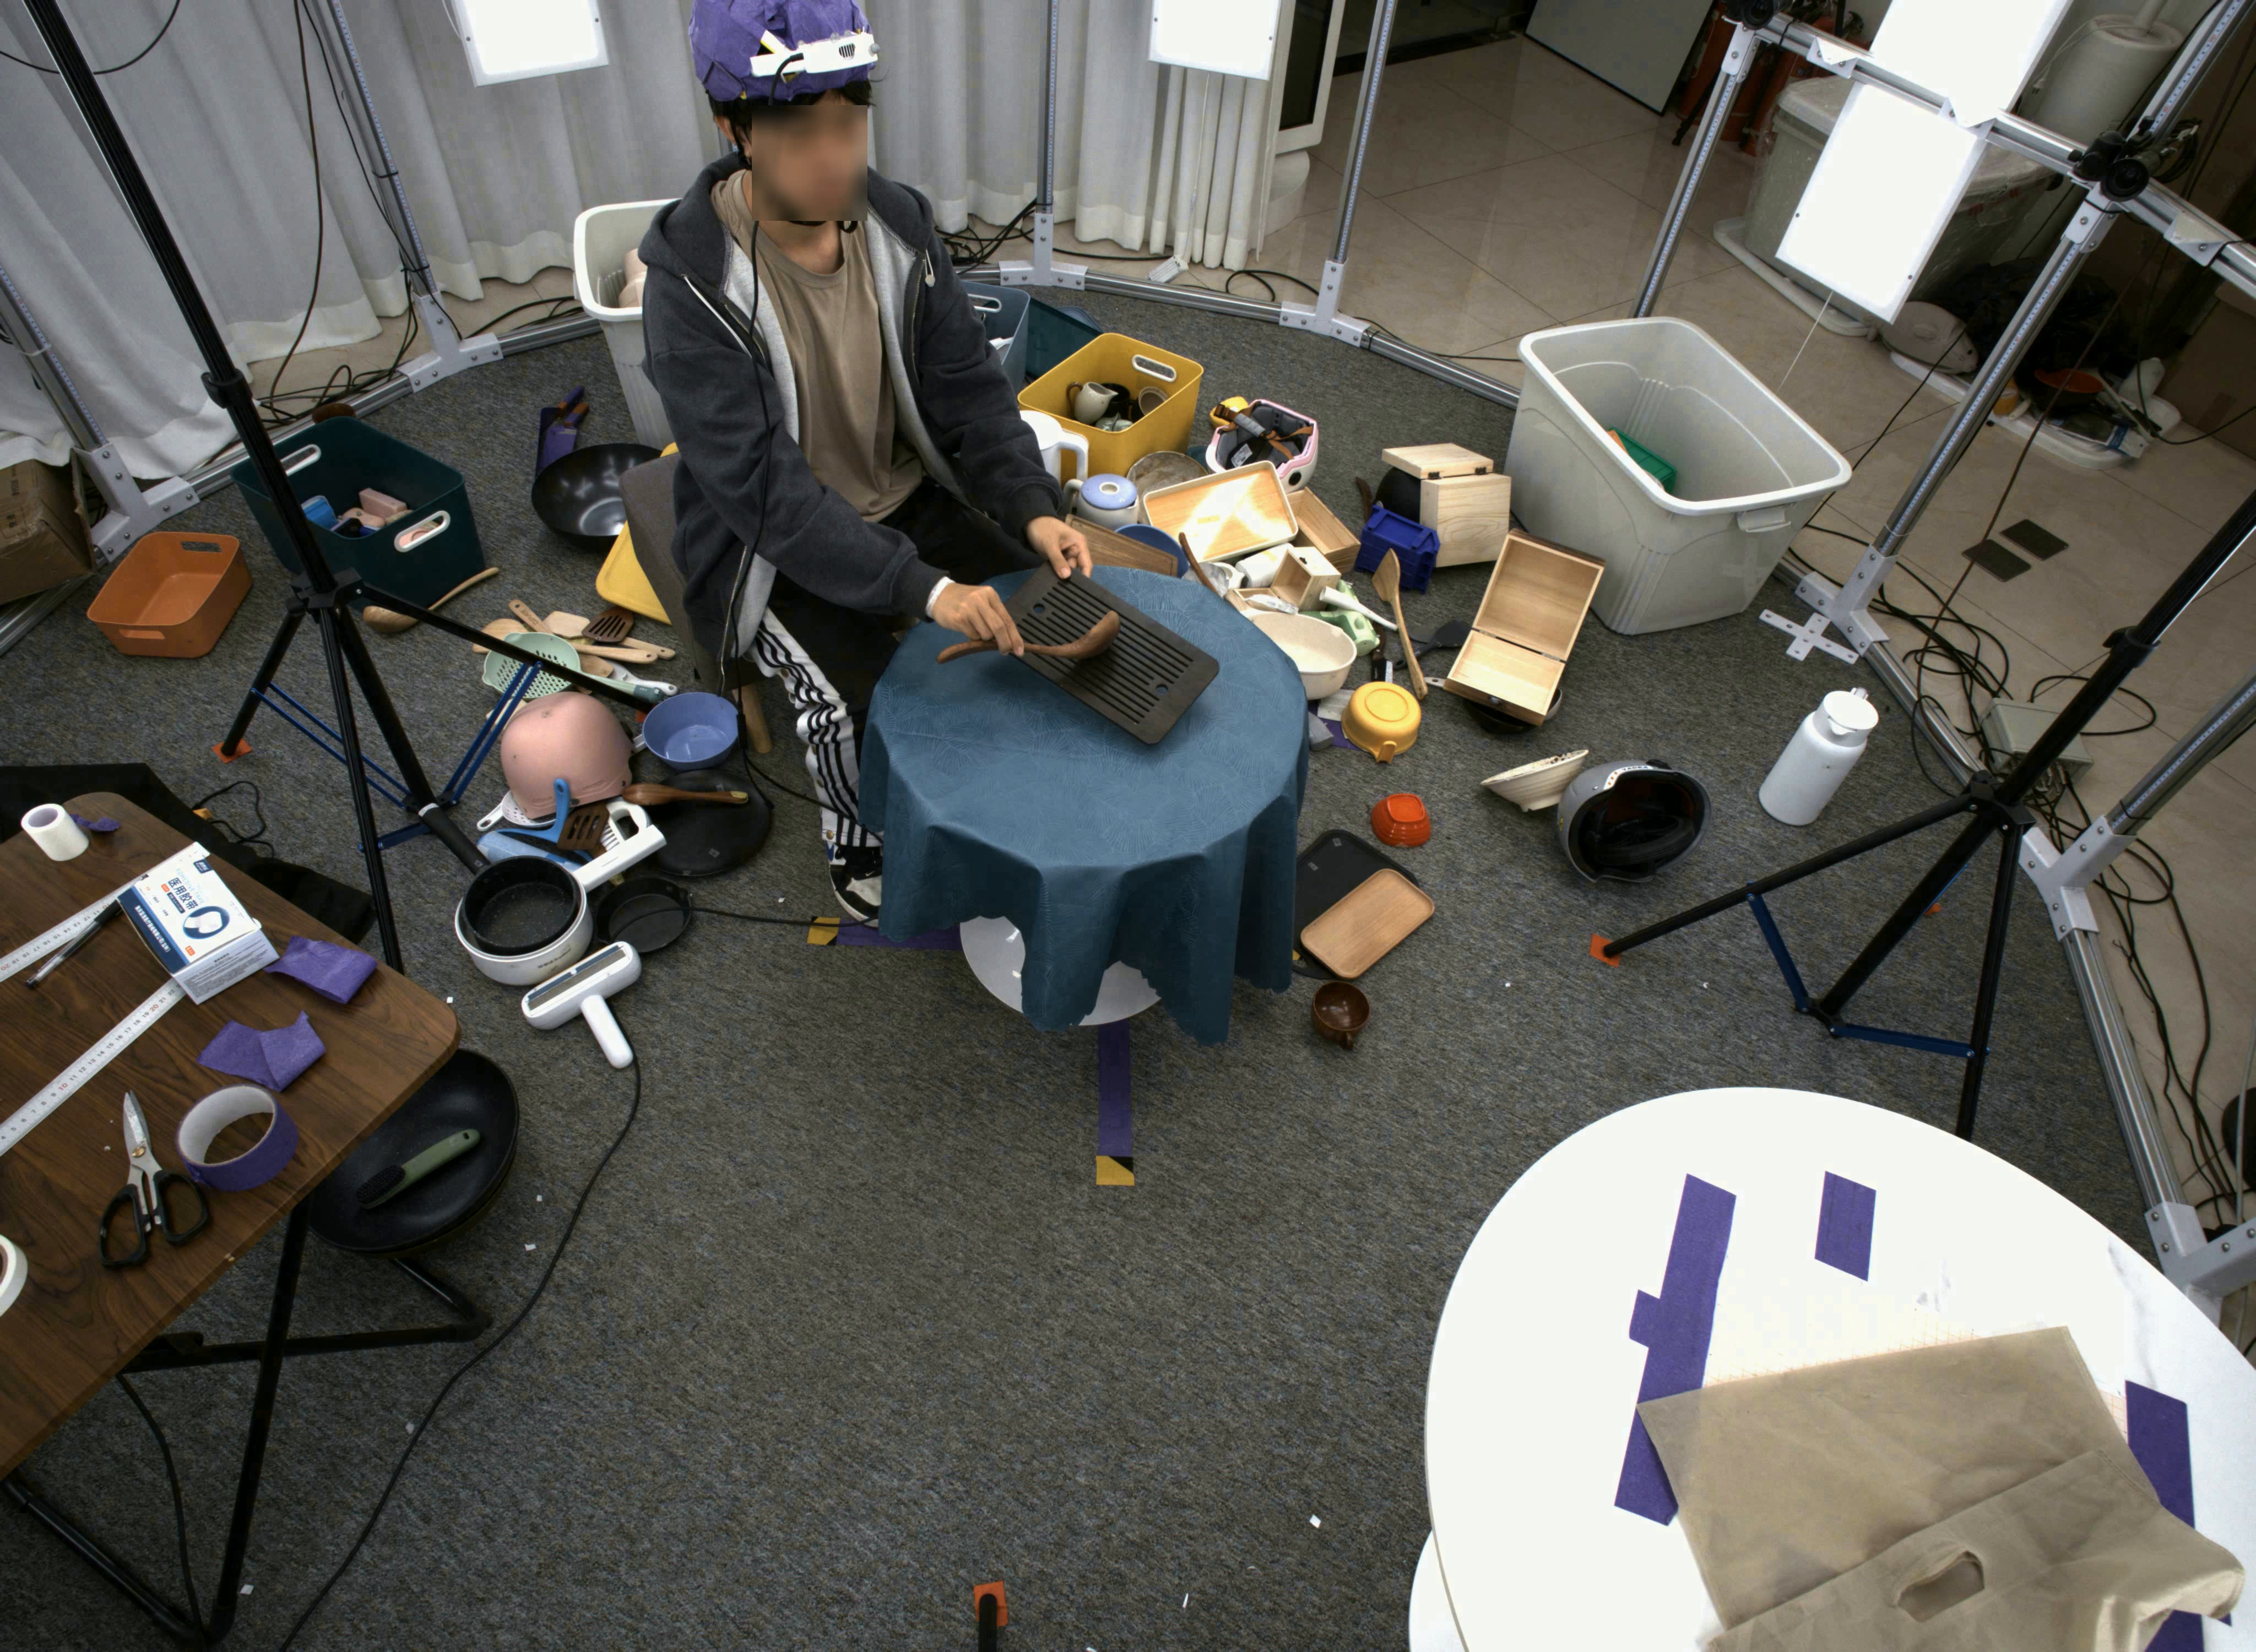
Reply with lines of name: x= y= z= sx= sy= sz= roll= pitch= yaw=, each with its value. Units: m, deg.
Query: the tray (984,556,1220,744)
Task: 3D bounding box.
tray: x=-0.037 y=-0.250 z=1.809 sx=0.308 sy=0.018 sz=0.172 roll=35 pitch=66 yaw=14

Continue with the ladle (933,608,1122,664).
ladle: x=-0.135 y=-0.256 z=1.740 sx=0.260 sy=0.075 sz=0.066 roll=-4 pitch=70 yaw=-13
